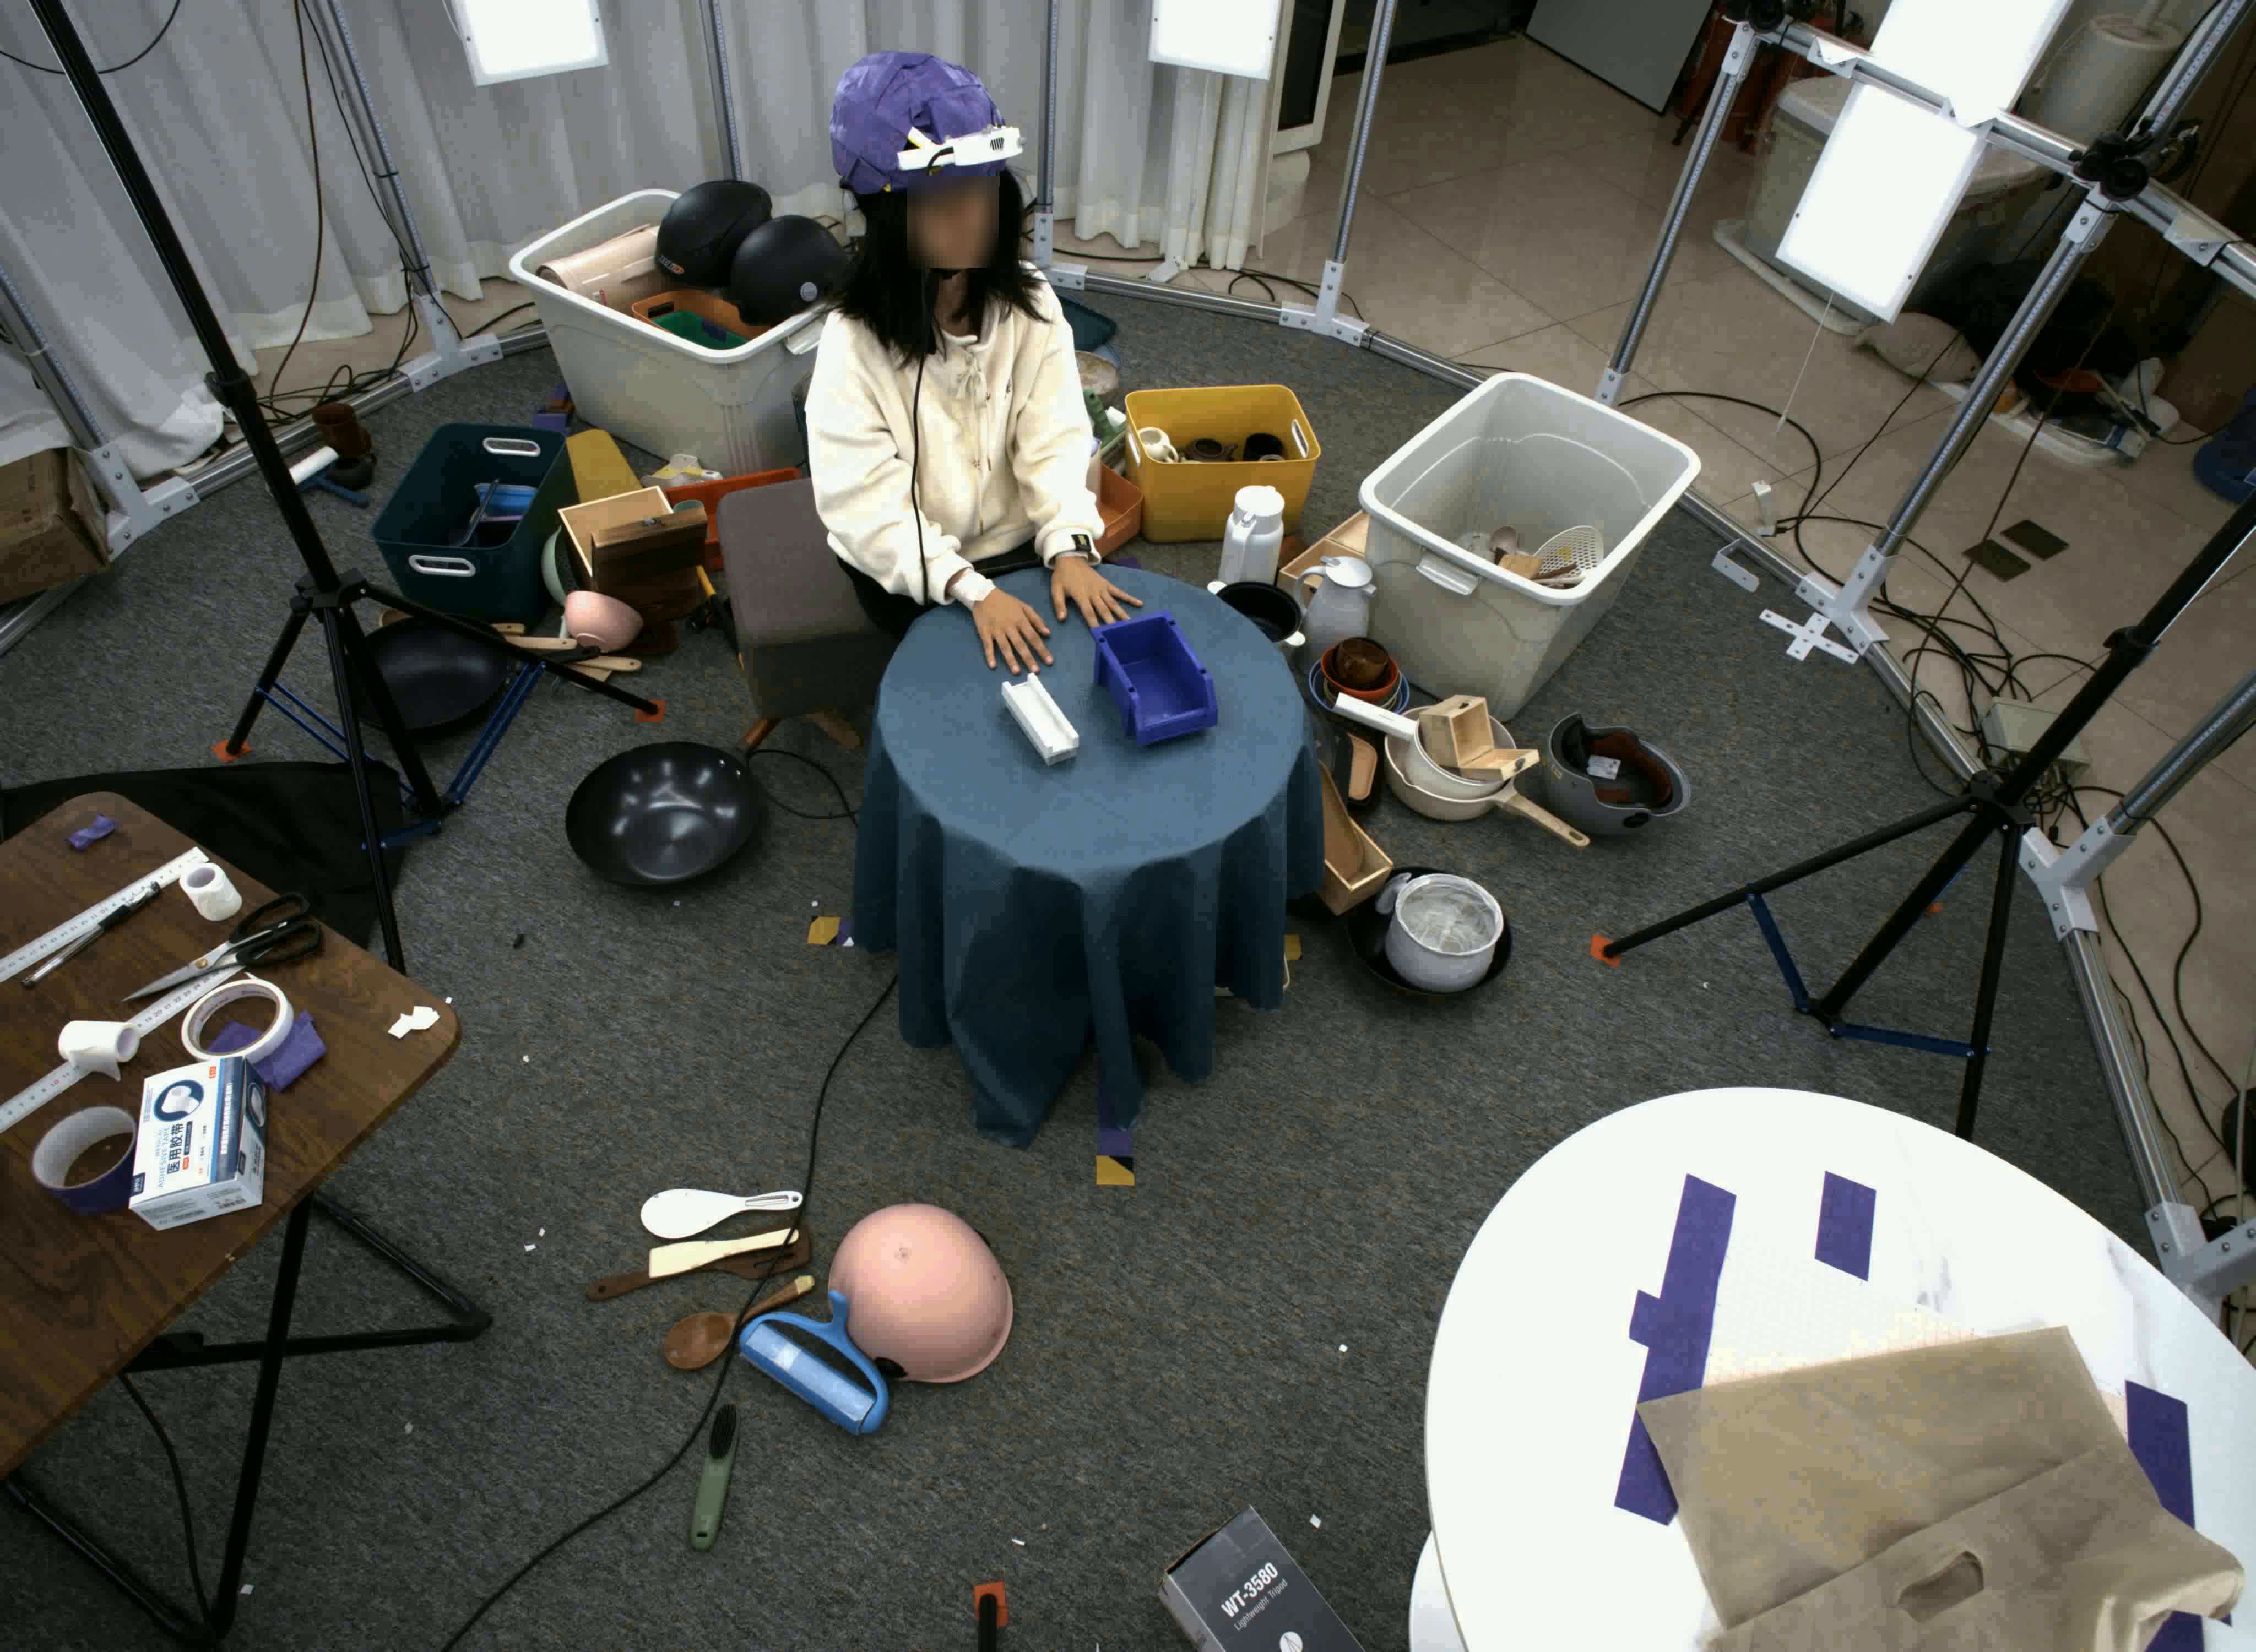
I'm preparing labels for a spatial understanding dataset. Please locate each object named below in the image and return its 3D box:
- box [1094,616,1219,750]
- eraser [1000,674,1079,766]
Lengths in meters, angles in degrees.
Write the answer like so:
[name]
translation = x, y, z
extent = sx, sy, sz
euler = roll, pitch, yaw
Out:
[box]
translation = 0.040, -0.197, 1.791
extent = 0.124, 0.080, 0.184
euler = -14, 50, -16
[eraser]
translation = -0.122, -0.146, 1.758
extent = 0.050, 0.045, 0.137
euler = -24, 56, -21
